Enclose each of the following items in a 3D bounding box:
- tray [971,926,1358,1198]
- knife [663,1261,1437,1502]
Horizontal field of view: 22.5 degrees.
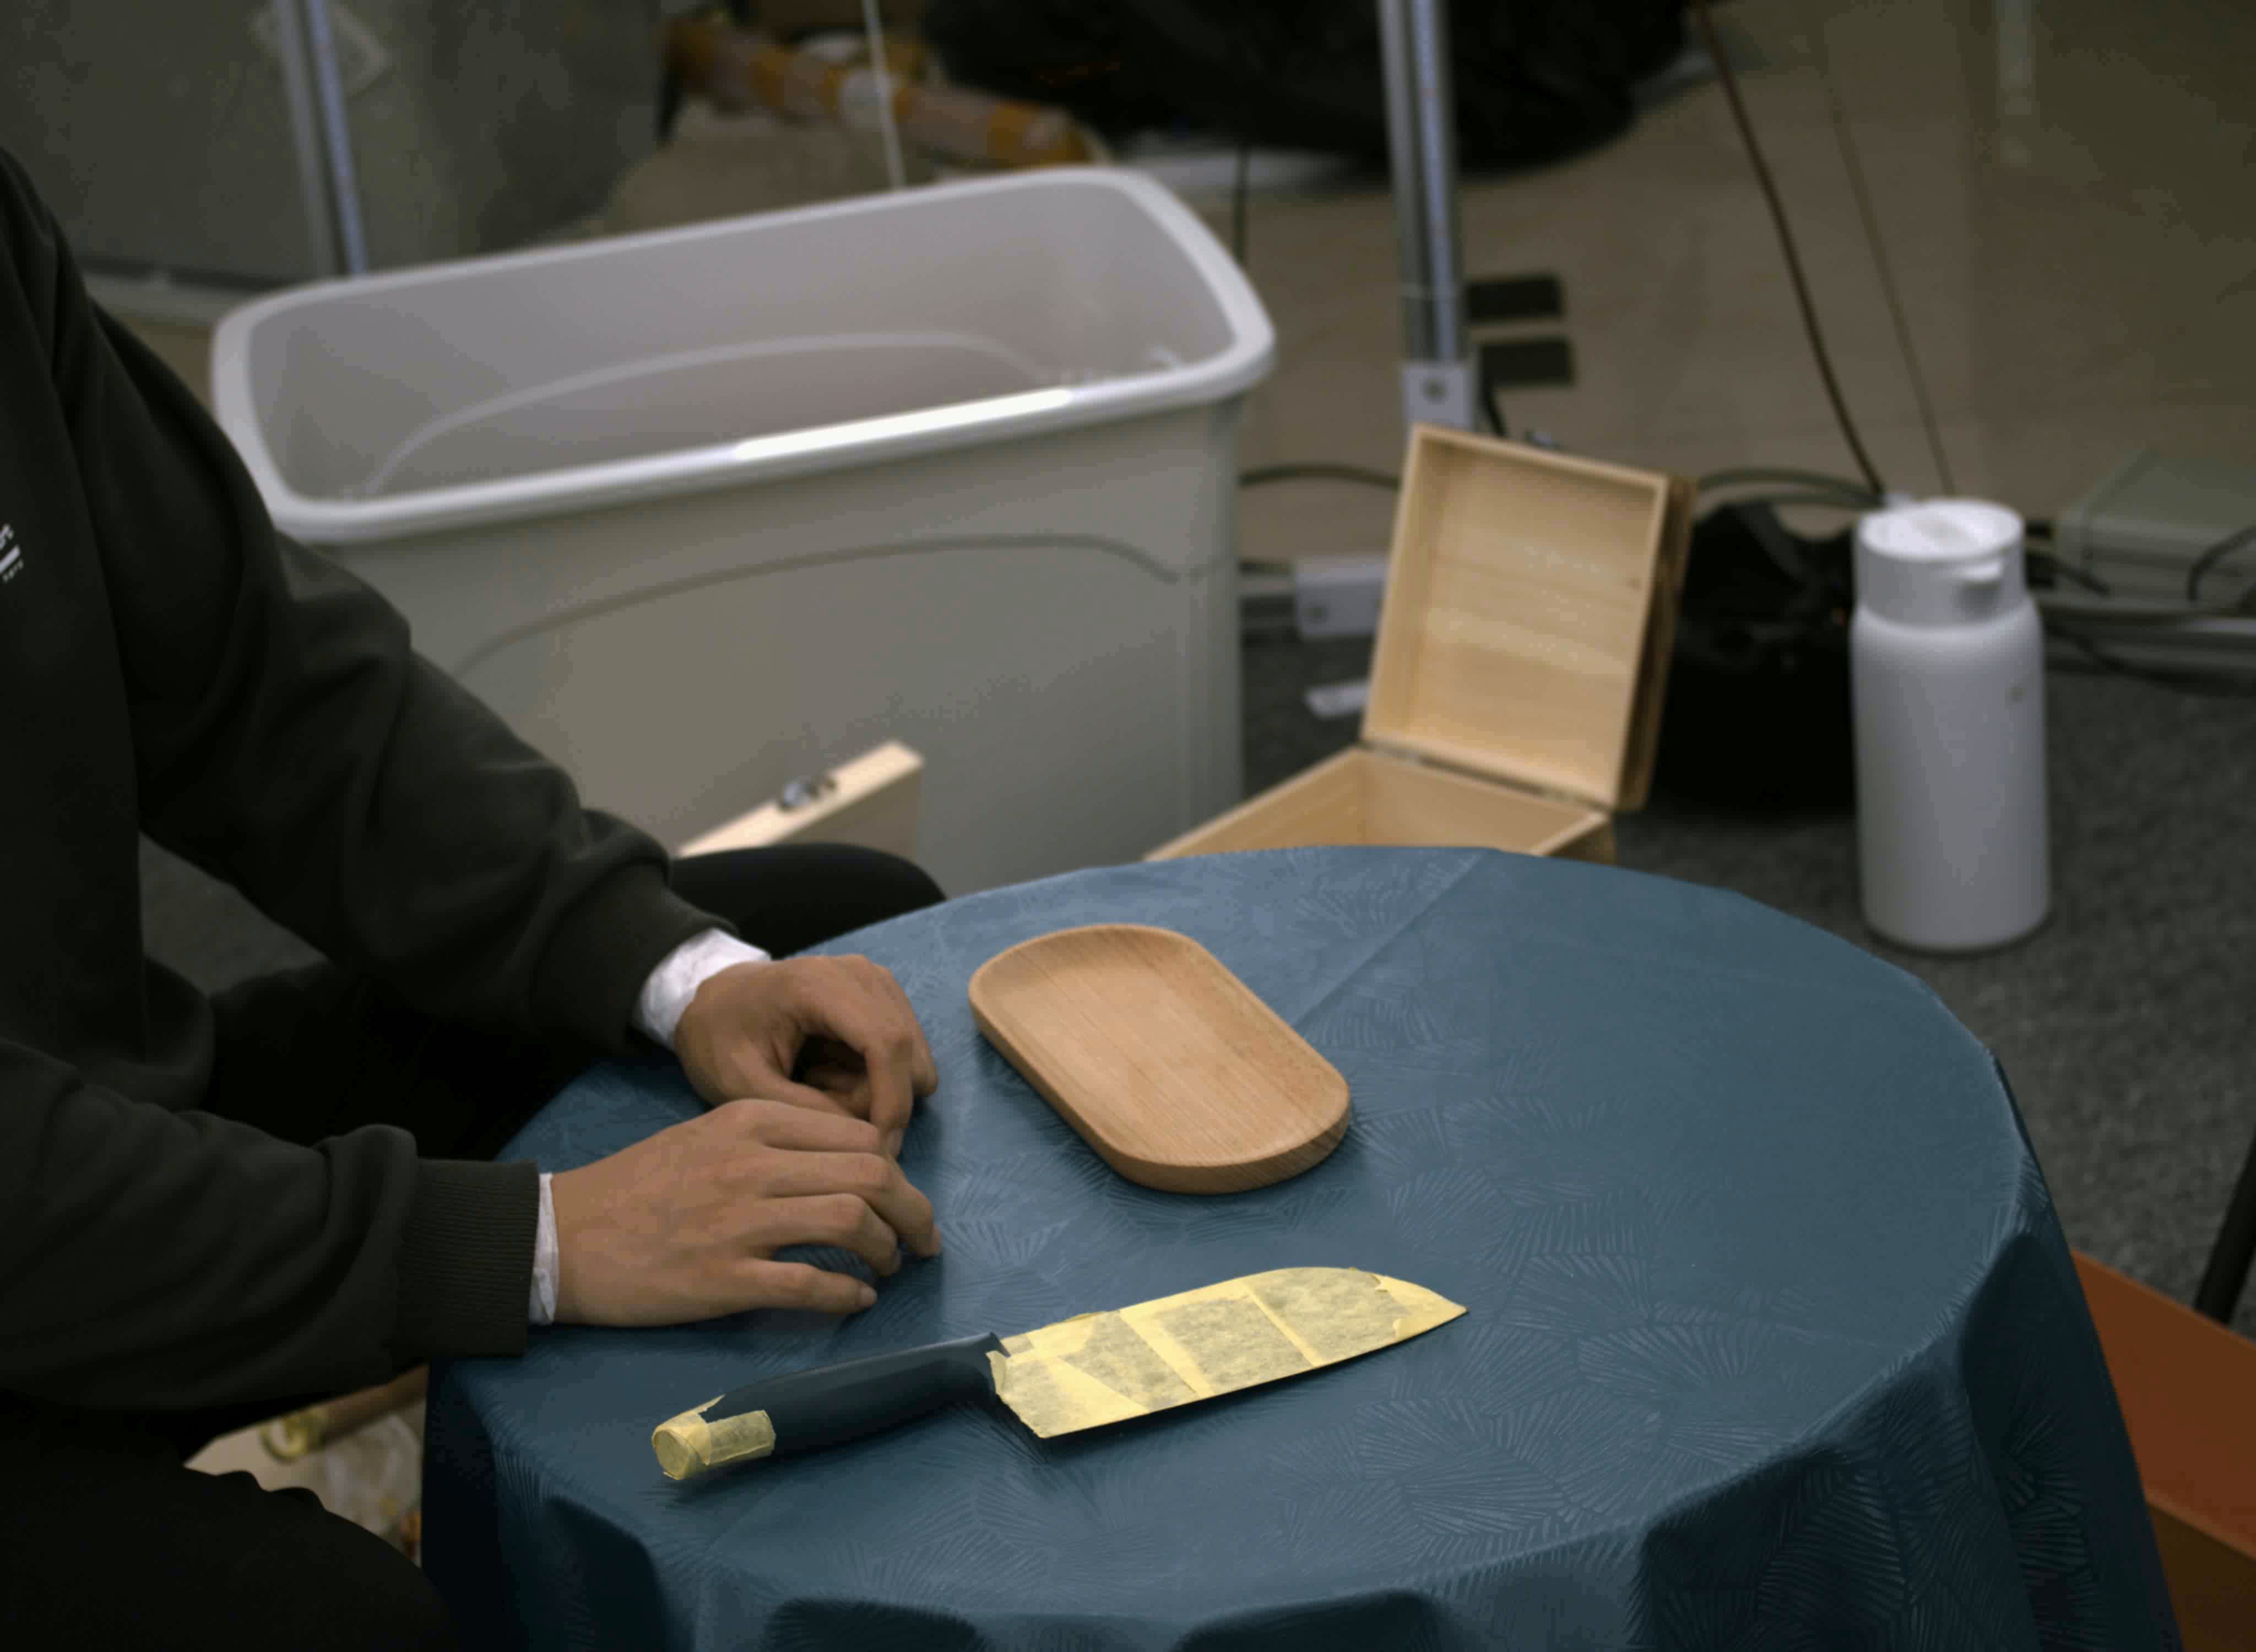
[{"bbox_3d":[0.013,0.091,2.232,0.101,0.020,0.228,-17,28,-18],"label":"tray"},{"bbox_3d":[-0.023,0.197,2.015,0.288,0.027,0.080,-13,24,-16],"label":"knife"}]
